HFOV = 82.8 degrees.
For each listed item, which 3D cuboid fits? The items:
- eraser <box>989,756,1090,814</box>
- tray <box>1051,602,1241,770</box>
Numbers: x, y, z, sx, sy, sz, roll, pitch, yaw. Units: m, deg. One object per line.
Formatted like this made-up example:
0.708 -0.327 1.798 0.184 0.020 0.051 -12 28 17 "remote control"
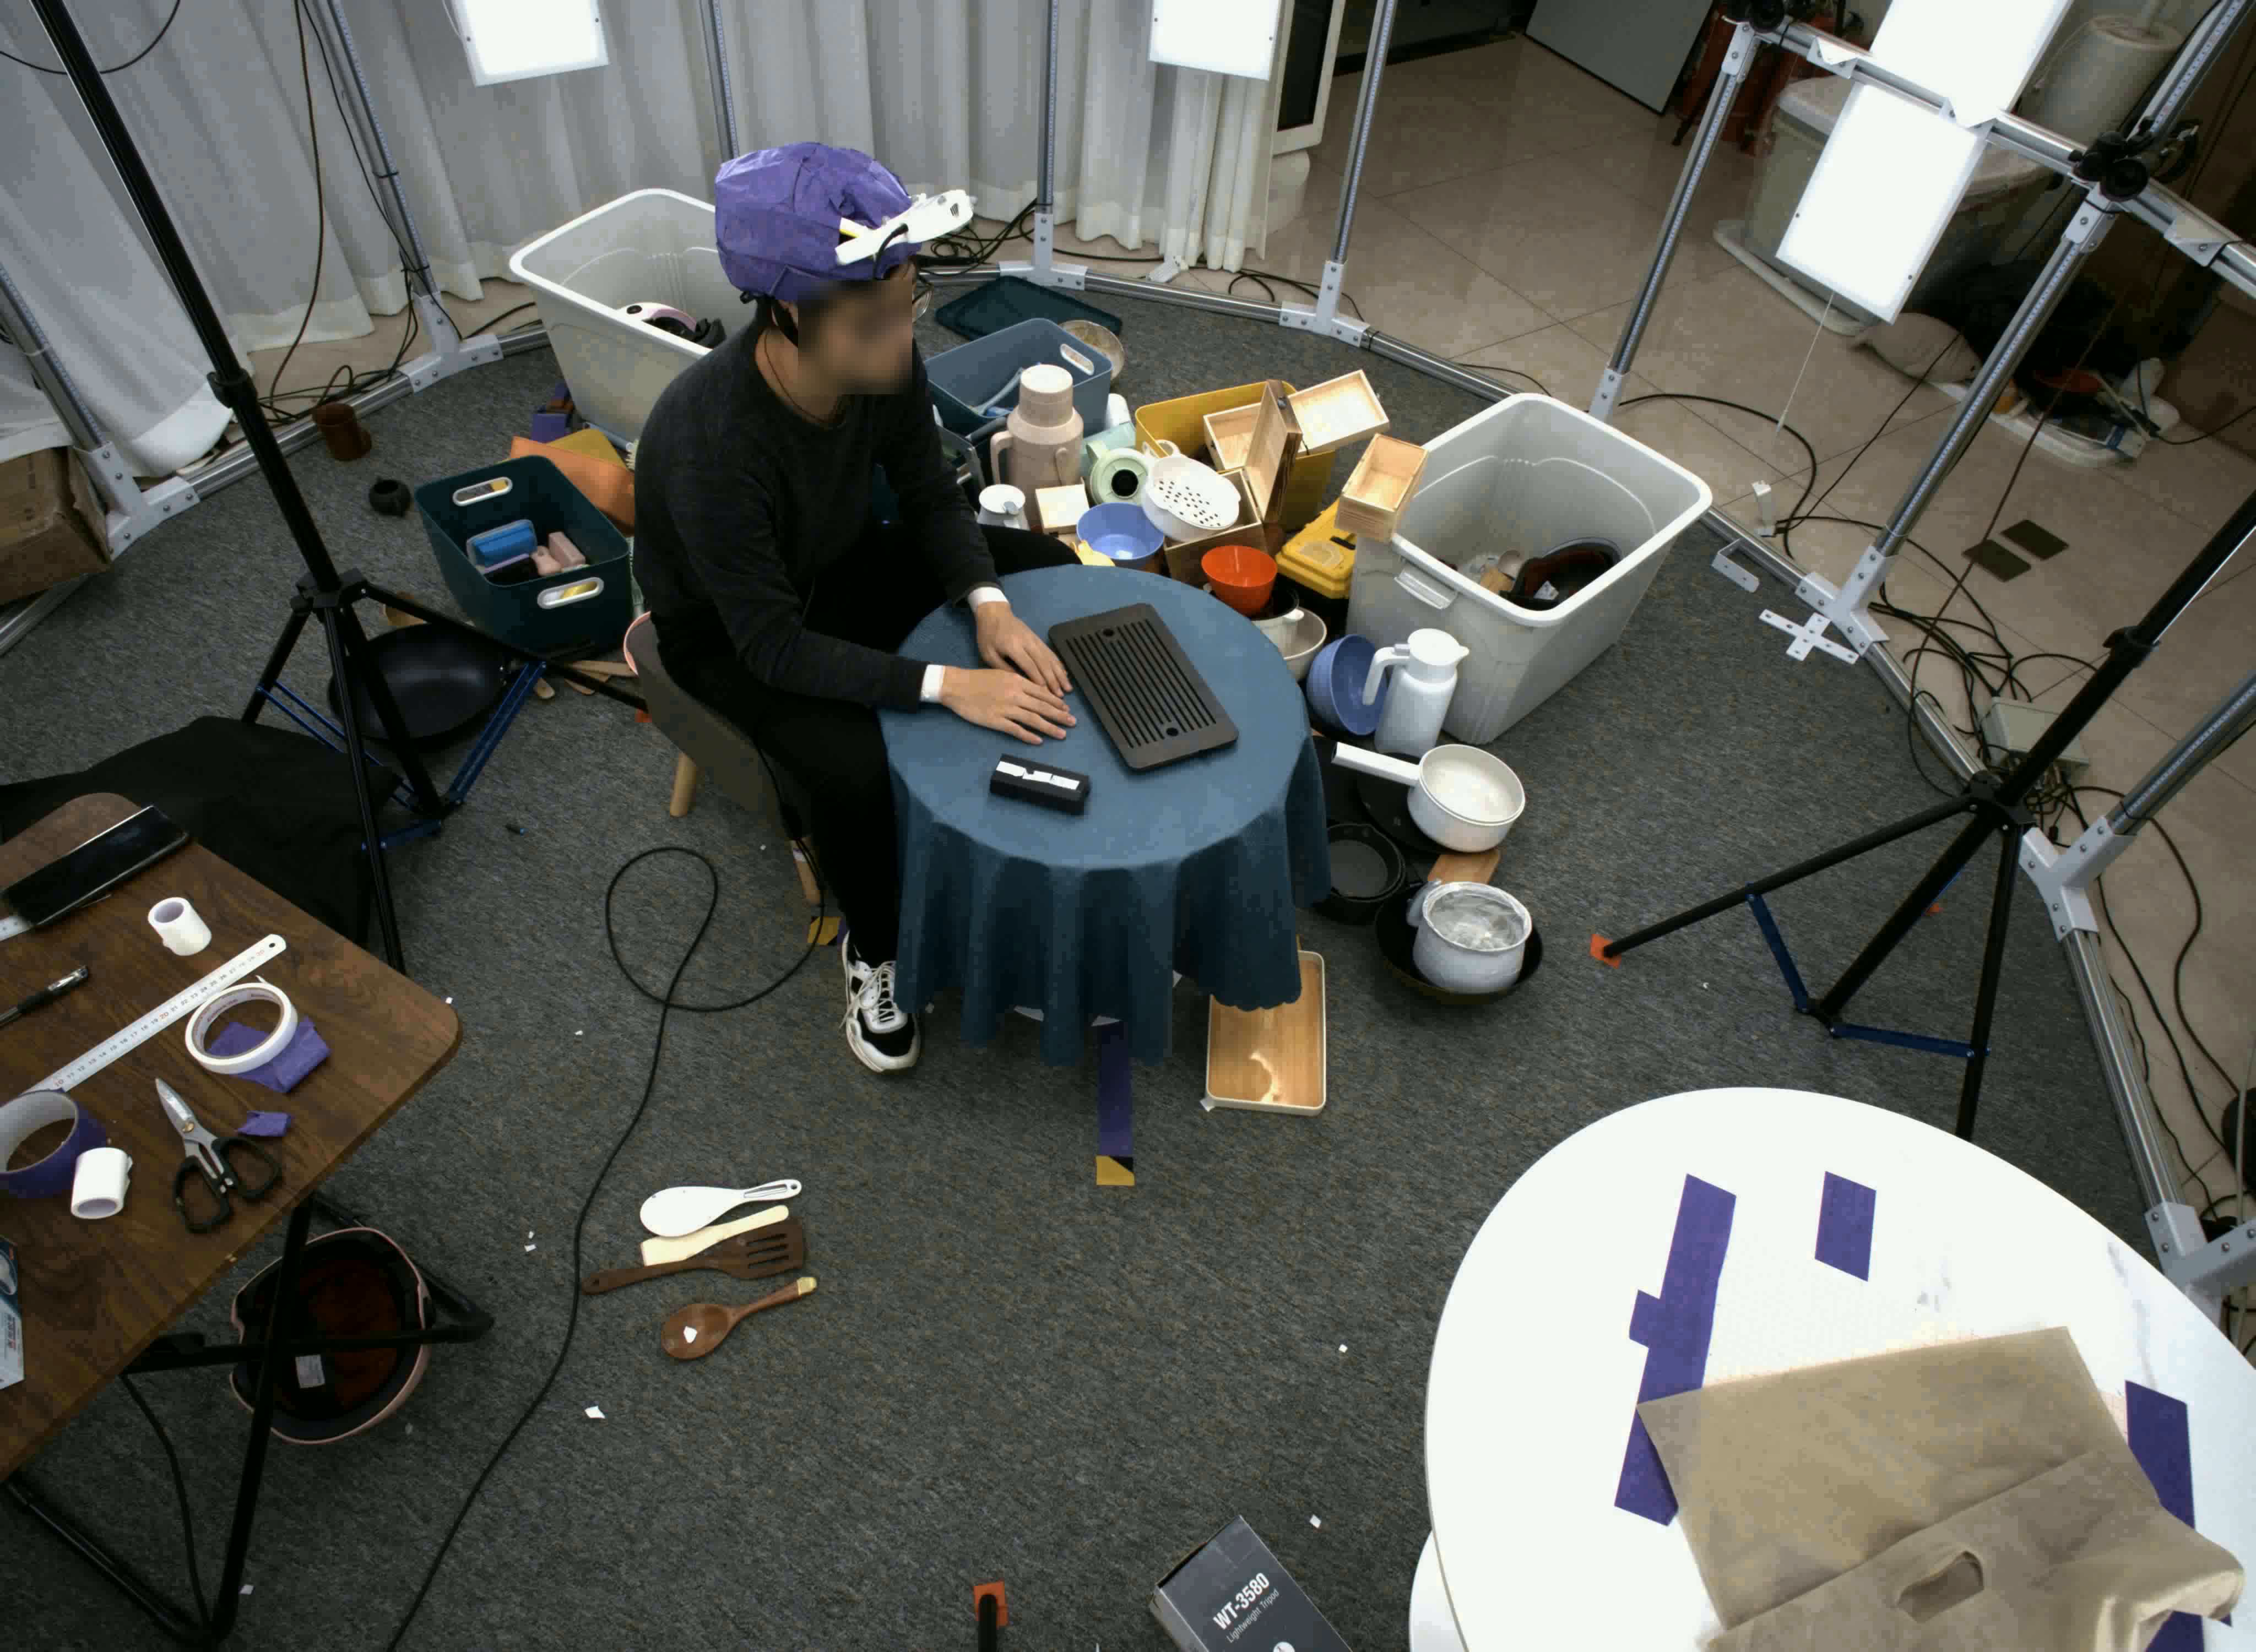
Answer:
-0.116 -0.055 1.692 0.126 0.030 0.054 13 47 9 "eraser"
0.021 -0.205 1.837 0.170 0.018 0.313 -17 52 -17 "tray"
